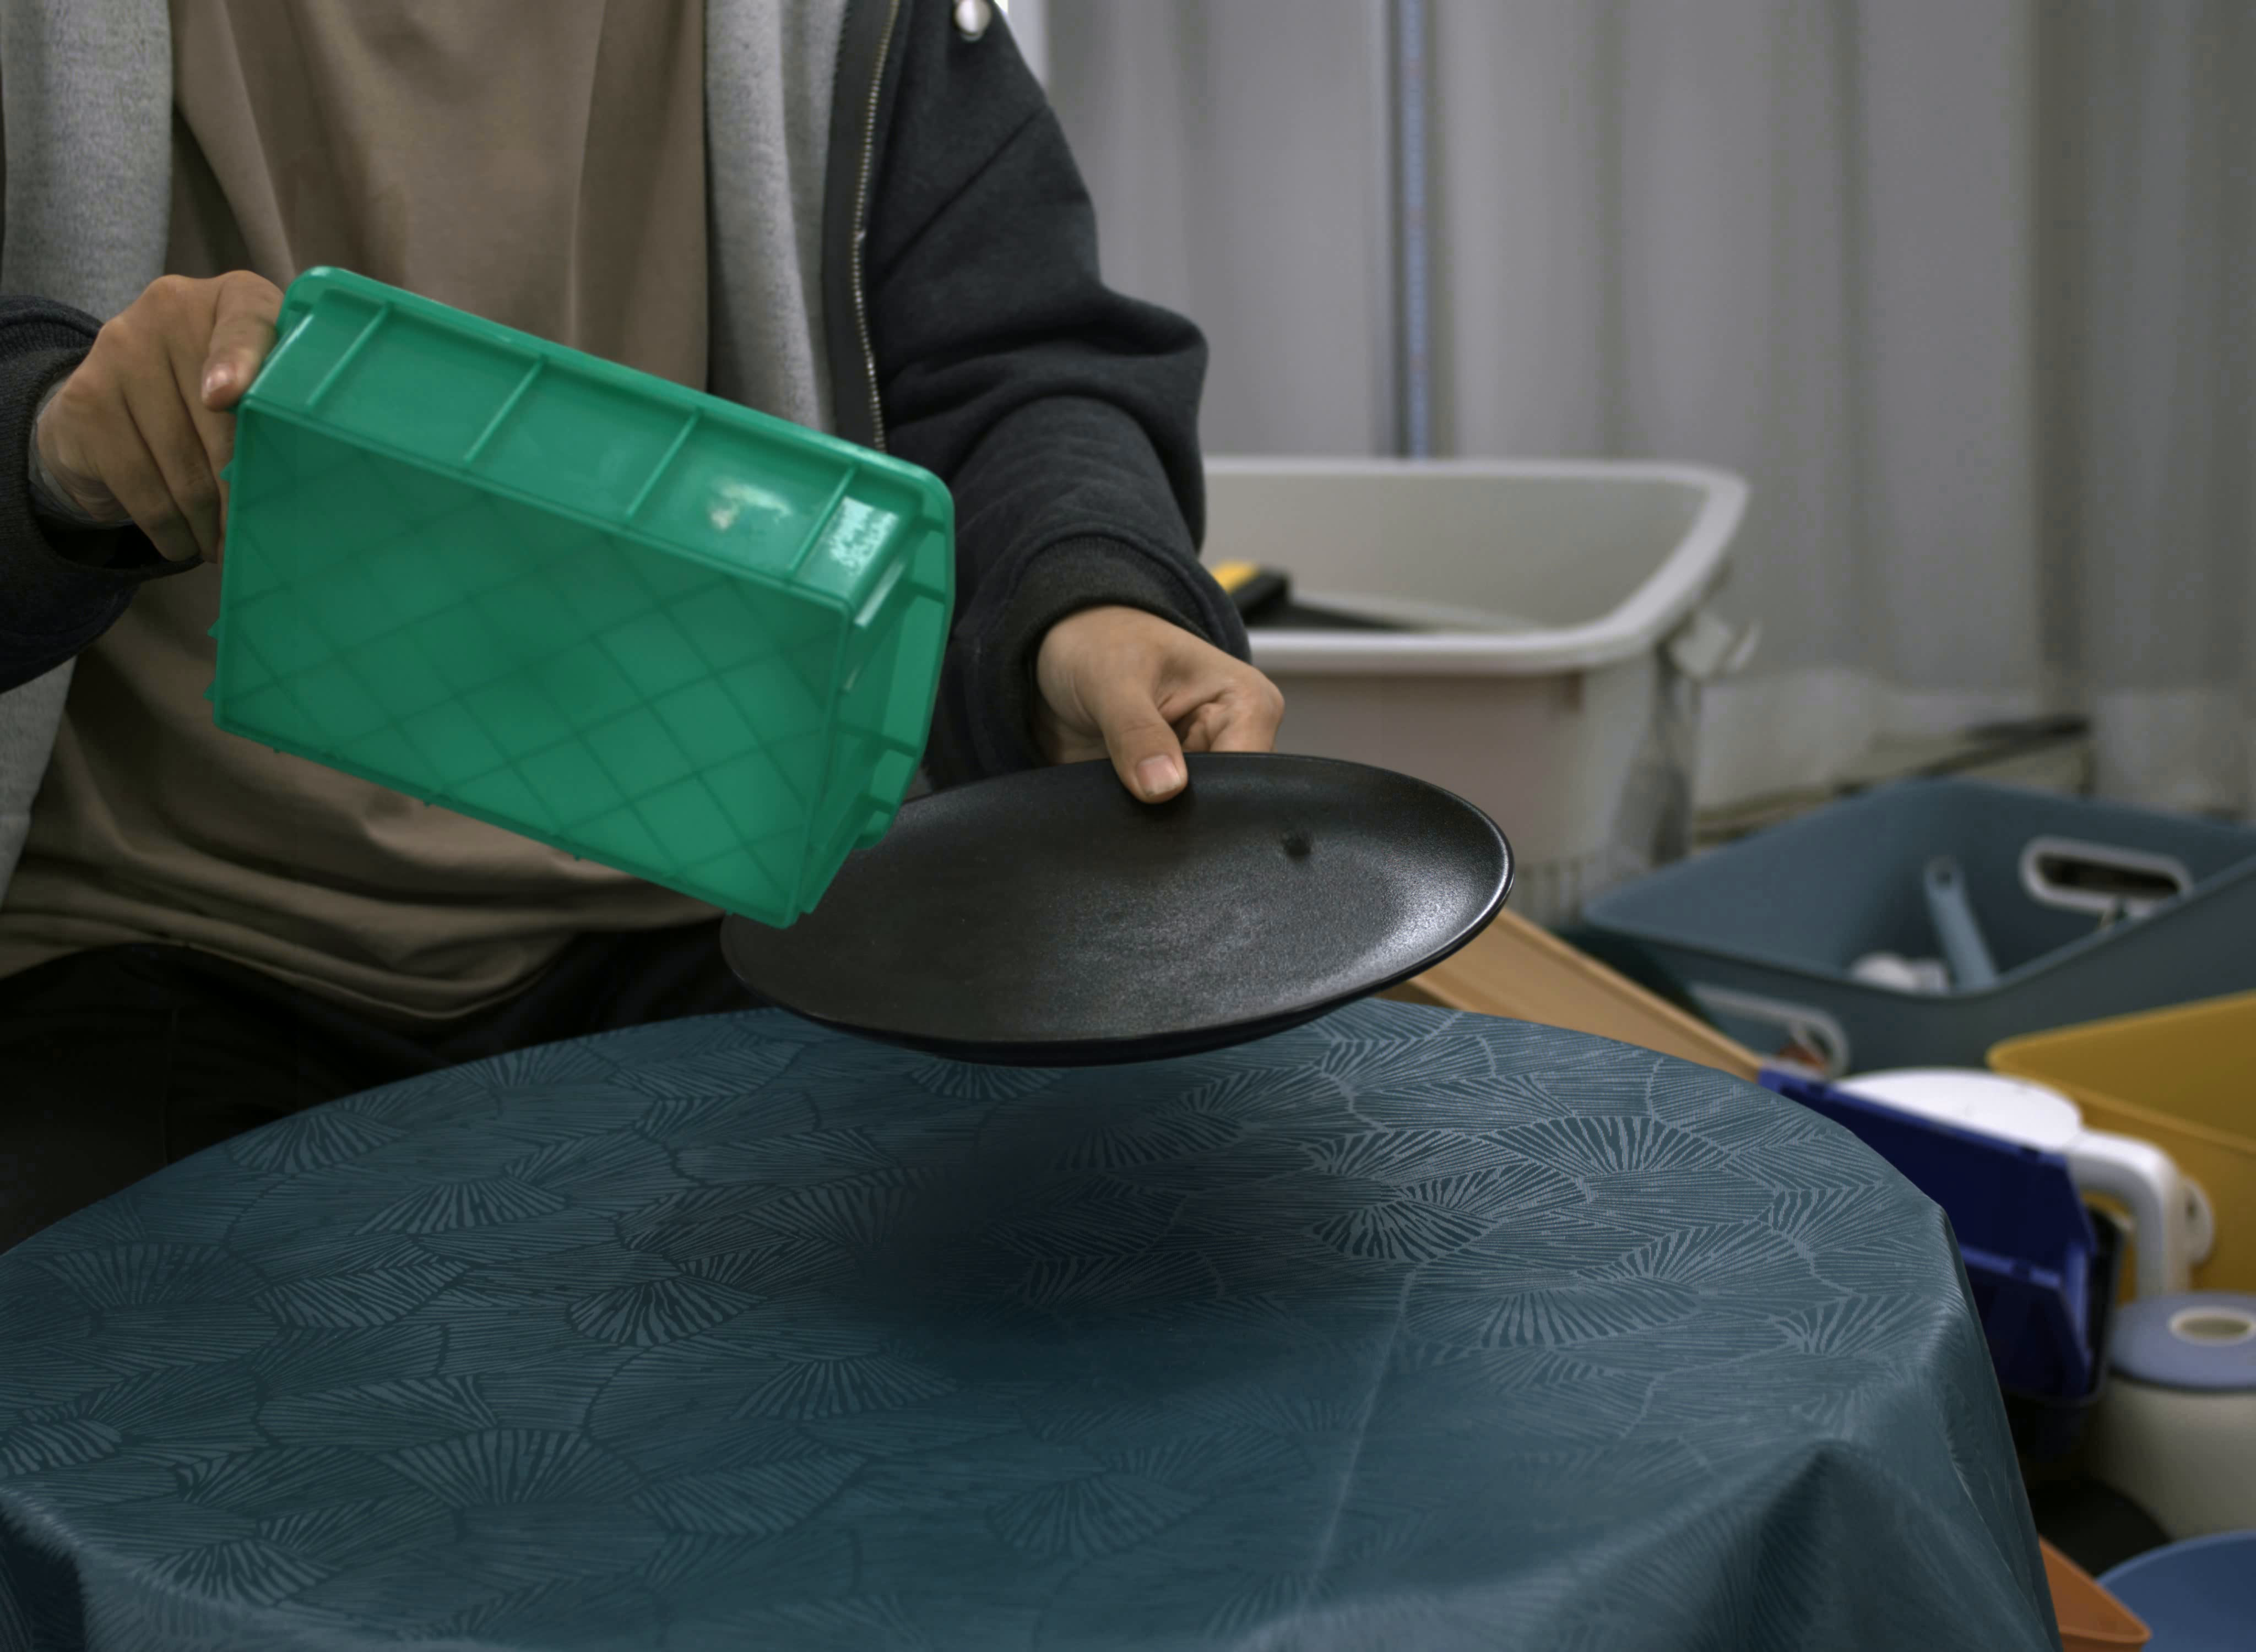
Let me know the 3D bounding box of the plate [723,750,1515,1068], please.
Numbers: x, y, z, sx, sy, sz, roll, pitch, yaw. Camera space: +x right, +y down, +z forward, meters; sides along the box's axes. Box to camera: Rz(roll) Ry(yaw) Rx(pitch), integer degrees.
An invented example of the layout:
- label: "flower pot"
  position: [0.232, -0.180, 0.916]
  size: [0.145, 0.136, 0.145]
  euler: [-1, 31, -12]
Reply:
- label: "plate"
  position: [-0.003, 0.028, 1.672]
  size: [0.243, 0.023, 0.246]
  euler: [-6, 20, 2]

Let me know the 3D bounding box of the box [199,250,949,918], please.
- label: "box"
  position: [-0.162, -0.063, 1.544]
  size: [0.210, 0.137, 0.066]
  euler: [19, 37, 6]
